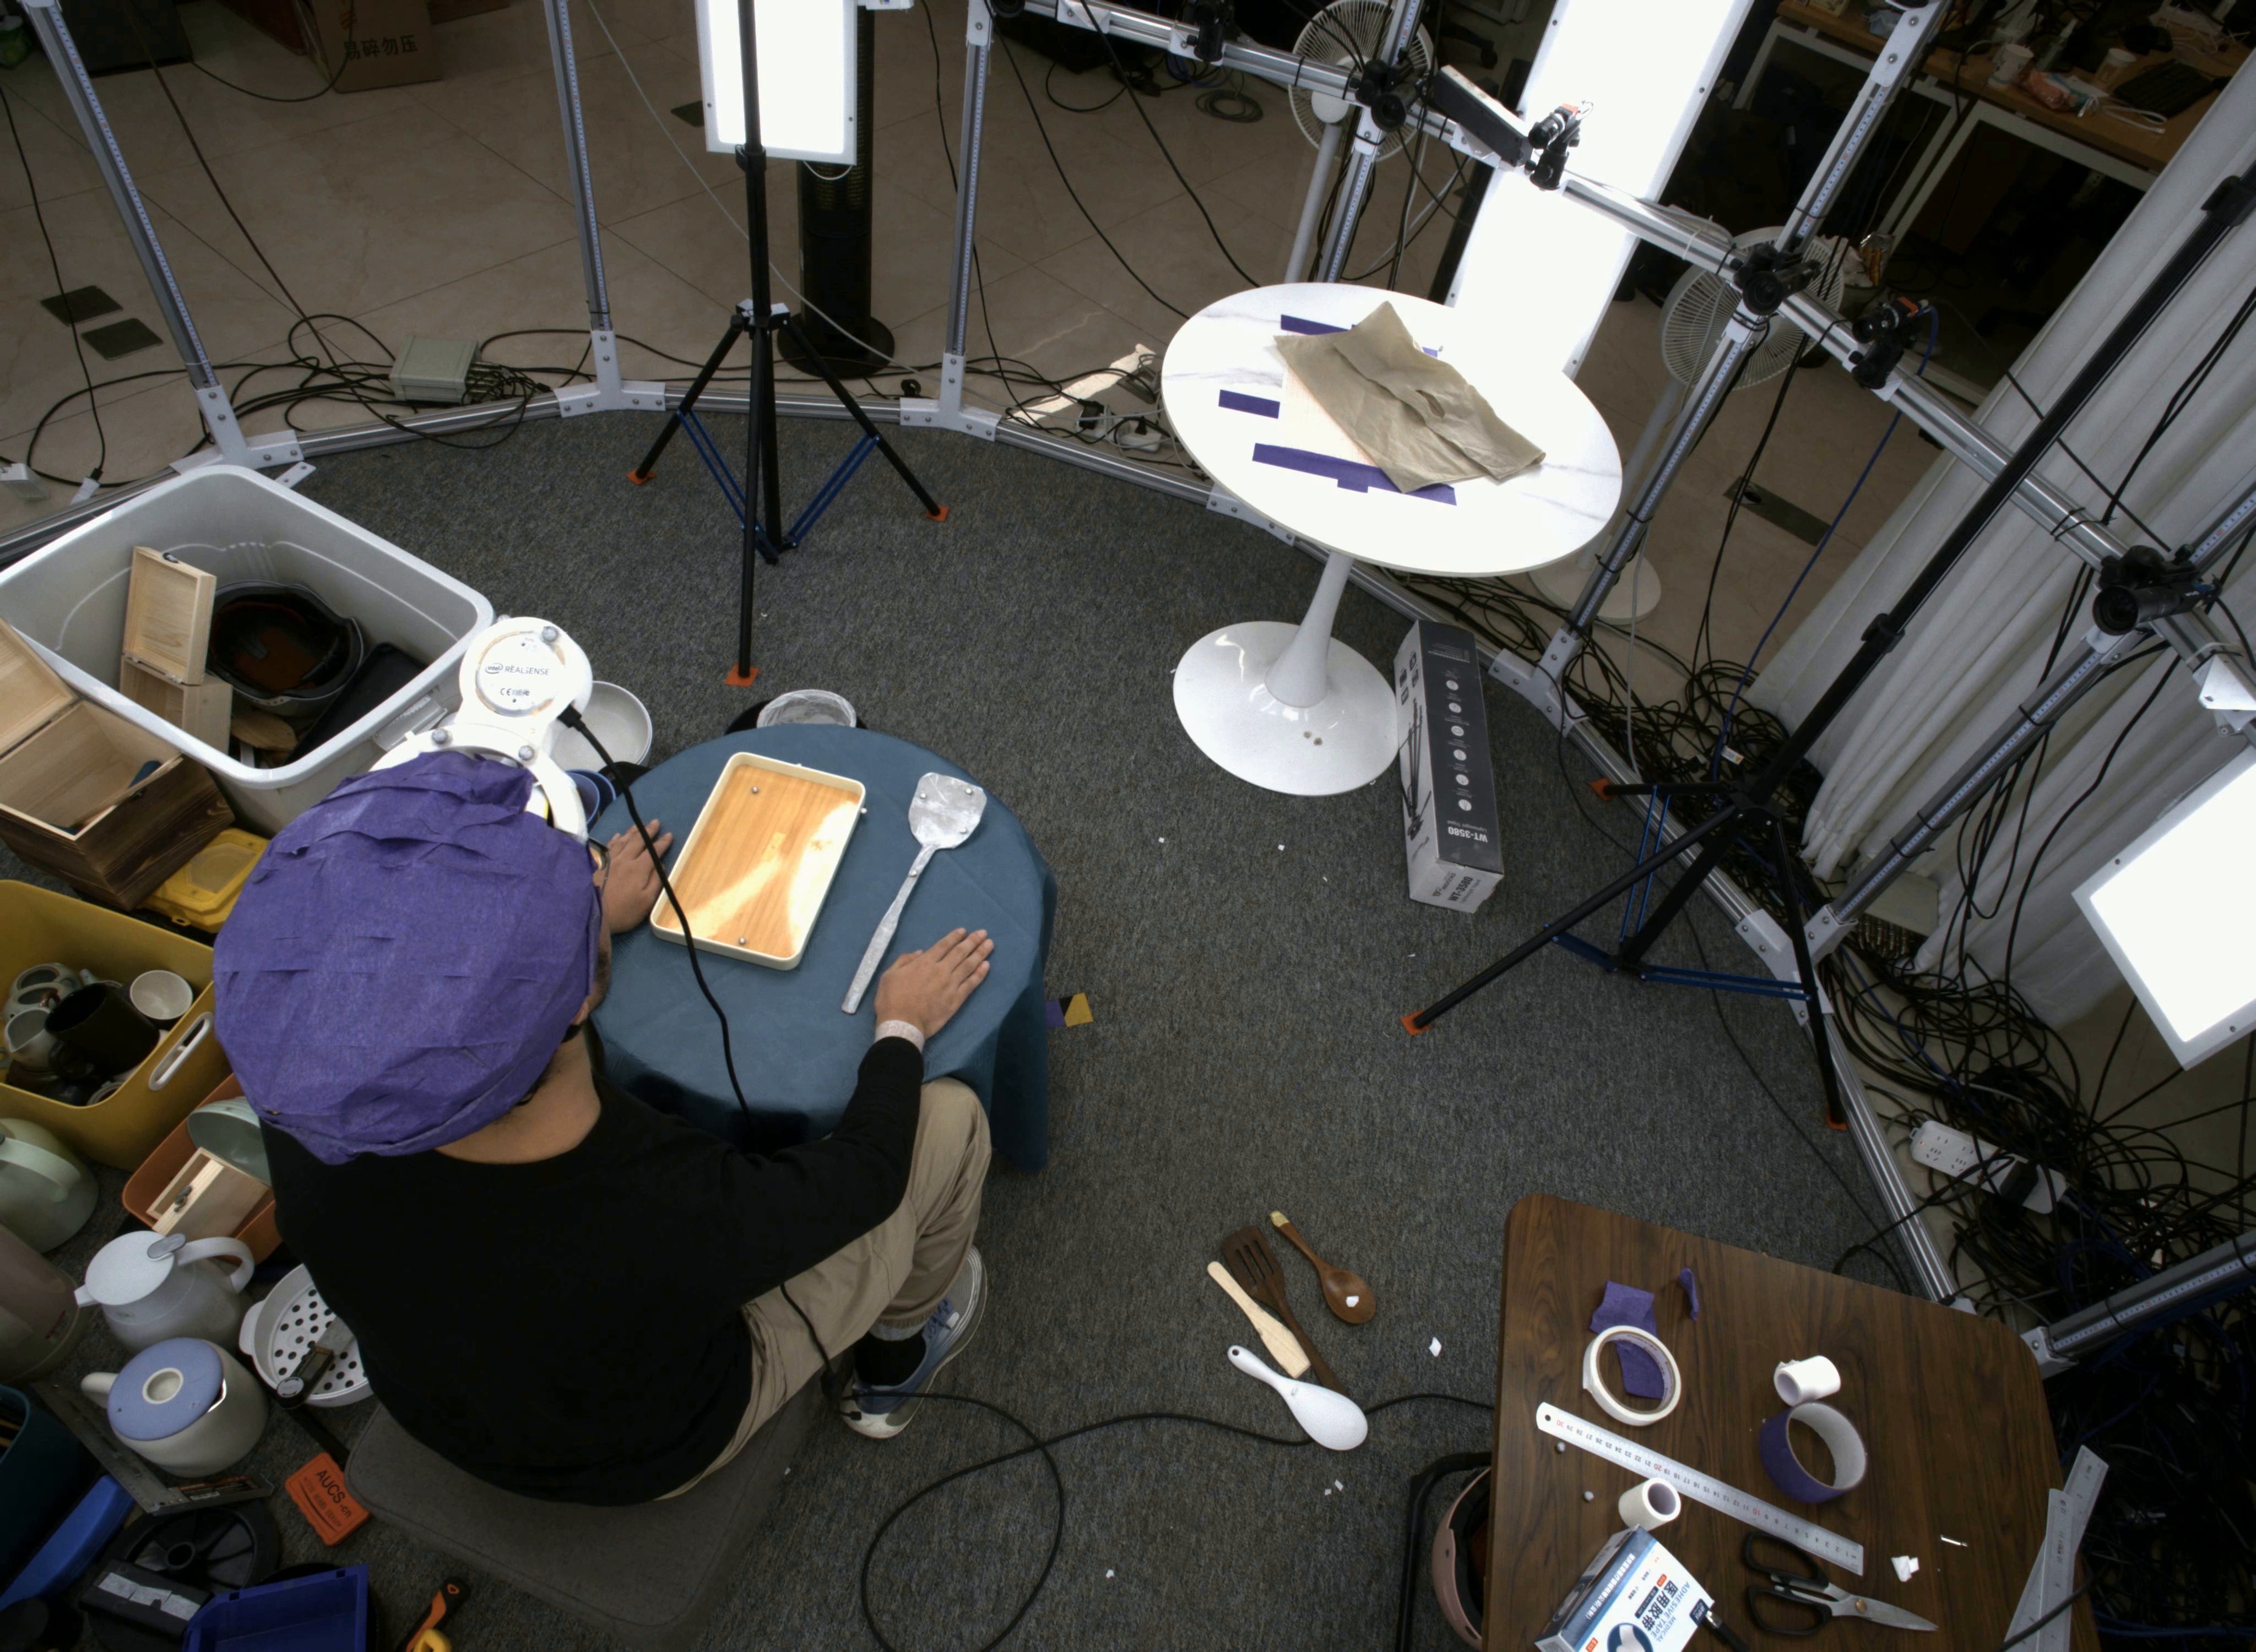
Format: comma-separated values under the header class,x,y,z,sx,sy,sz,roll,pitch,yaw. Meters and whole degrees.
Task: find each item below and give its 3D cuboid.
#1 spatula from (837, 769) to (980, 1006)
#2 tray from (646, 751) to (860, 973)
class,x,y,z,sx,sy,sz,roll,pitch,yaw
spatula,-0.292,0.074,1.673,0.098,0.045,0.361,20,51,0
tray,-0.475,0.038,1.659,0.190,0.028,0.296,15,52,-3
